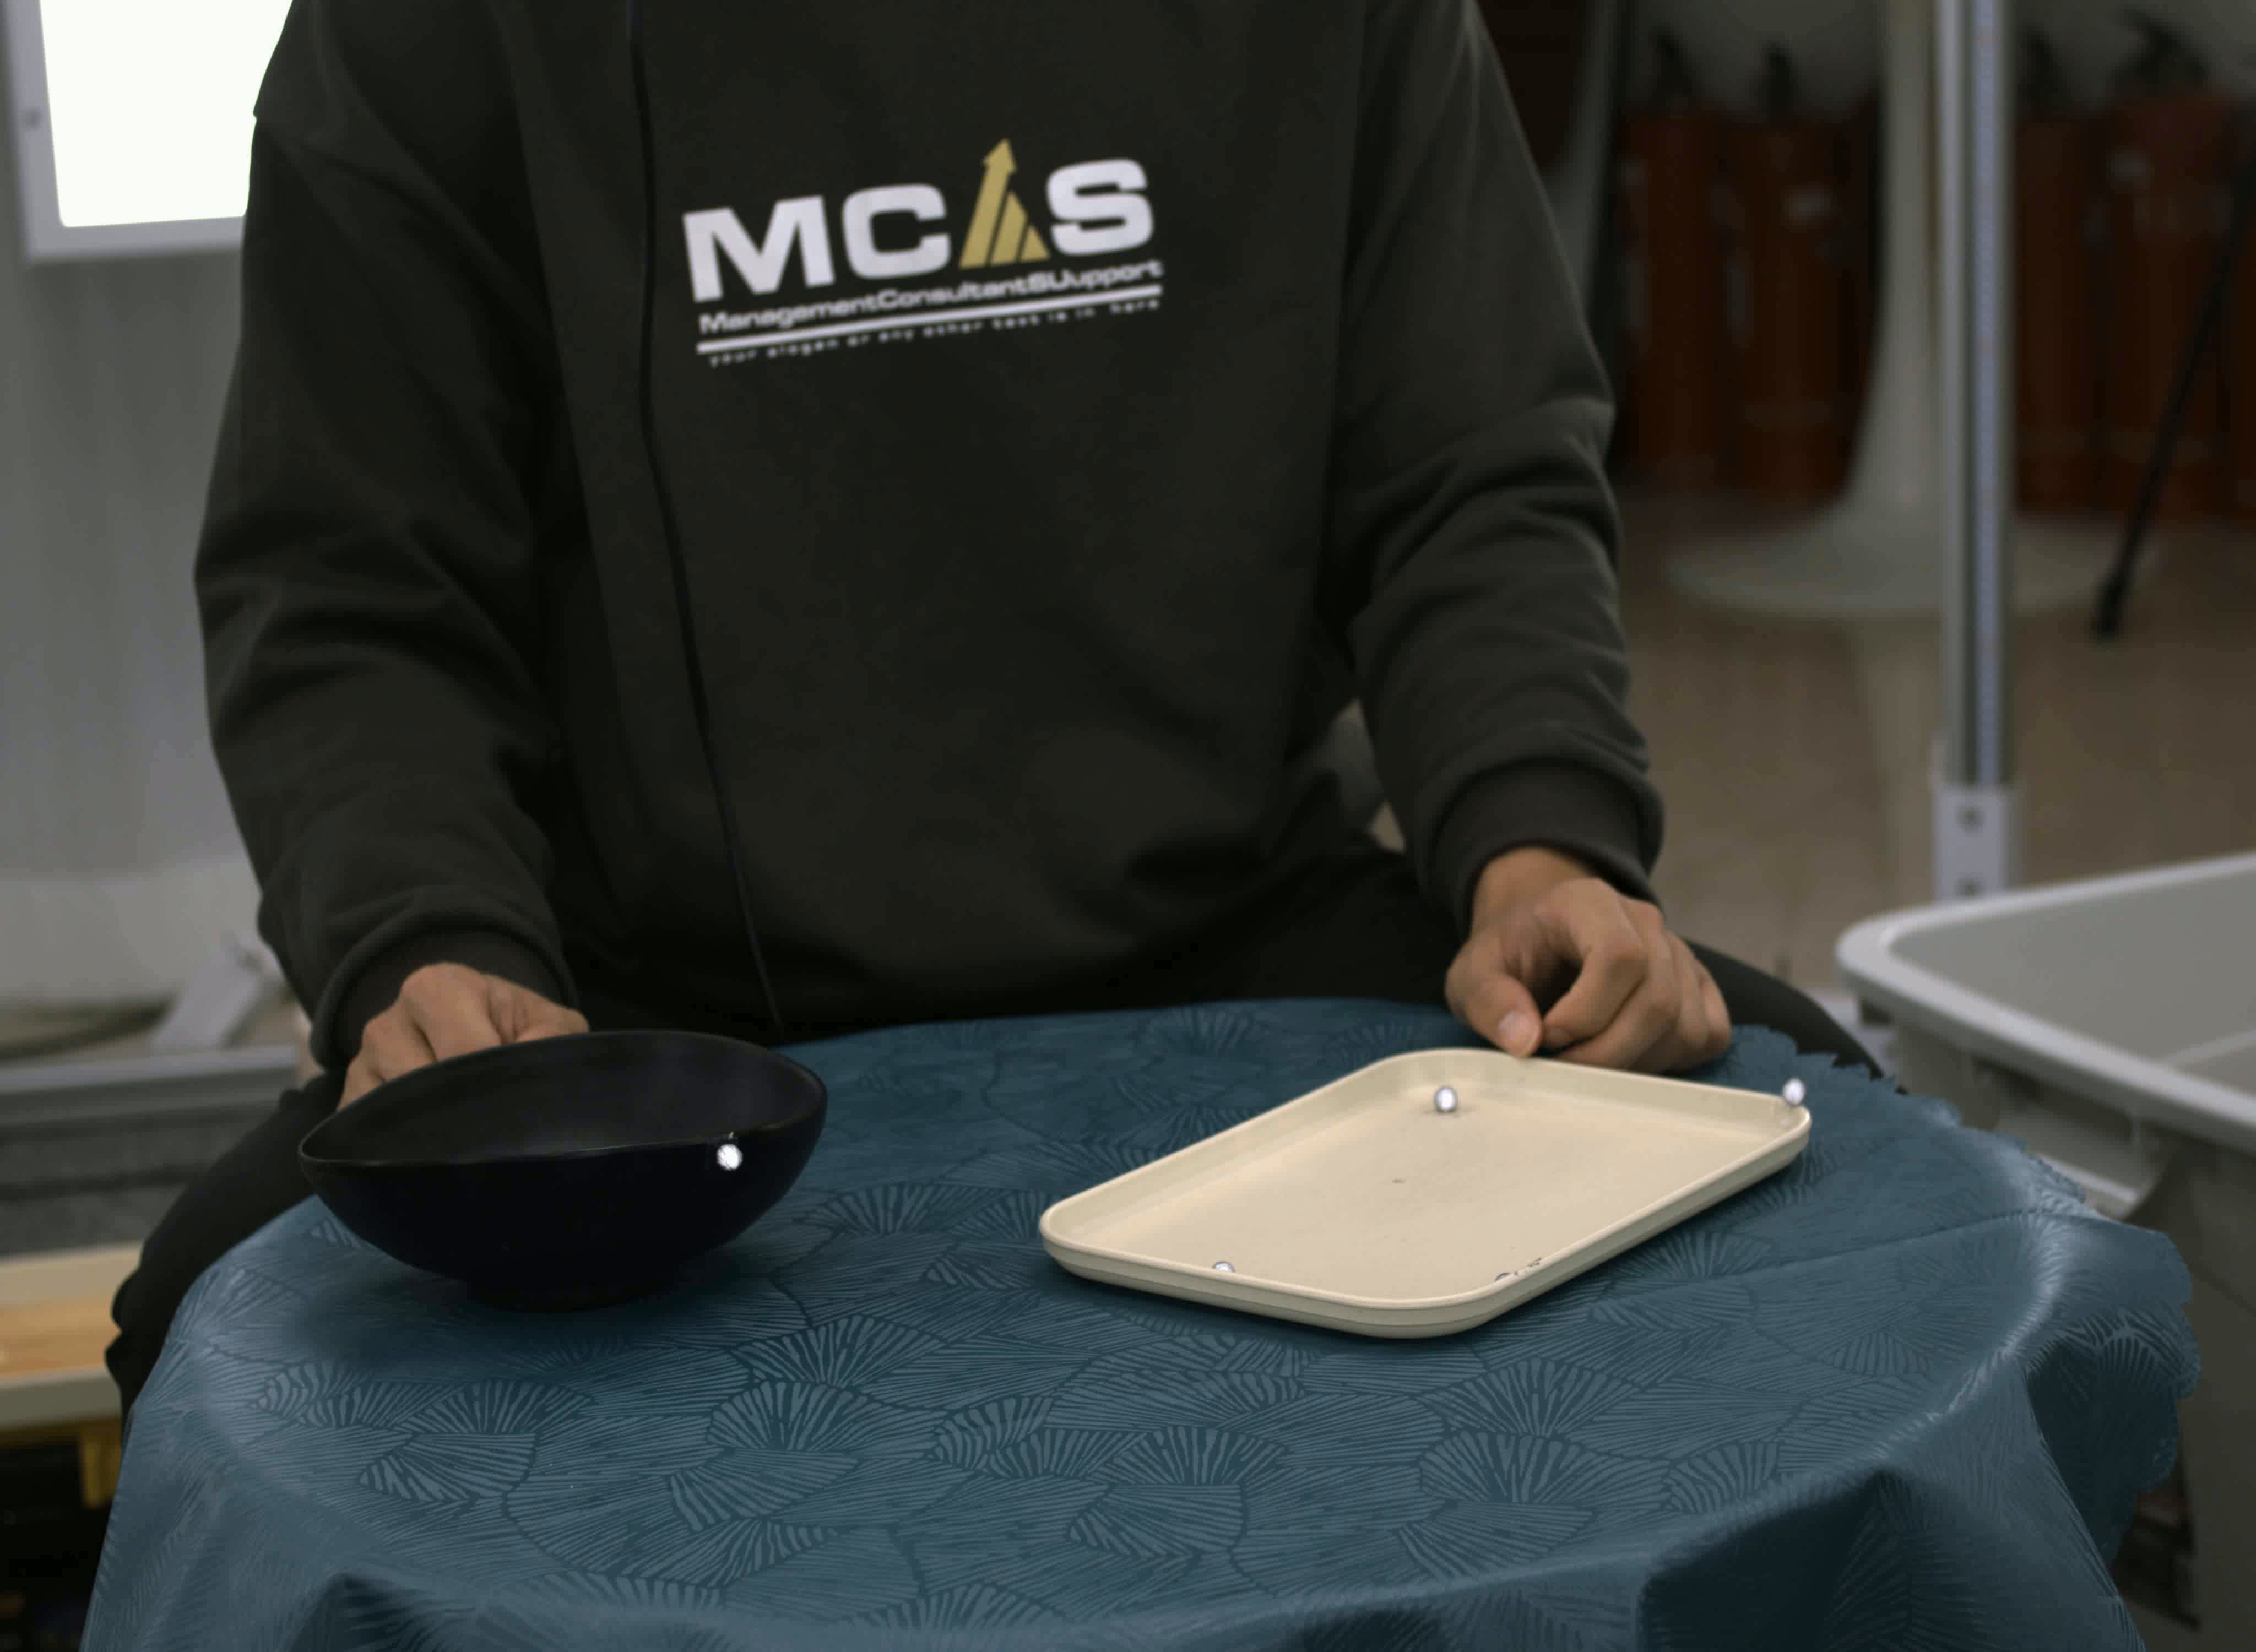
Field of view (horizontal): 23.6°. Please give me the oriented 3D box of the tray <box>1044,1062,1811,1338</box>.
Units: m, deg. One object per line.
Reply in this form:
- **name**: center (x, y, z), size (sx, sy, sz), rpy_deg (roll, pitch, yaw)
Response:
- **tray**: center (0.099, 0.119, 1.726), size (0.172, 0.017, 0.235), rpy_deg (6, 16, 38)

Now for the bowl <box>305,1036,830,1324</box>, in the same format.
- **bowl**: center (-0.176, 0.117, 1.712), size (0.168, 0.067, 0.137), rpy_deg (-5, 12, 2)
